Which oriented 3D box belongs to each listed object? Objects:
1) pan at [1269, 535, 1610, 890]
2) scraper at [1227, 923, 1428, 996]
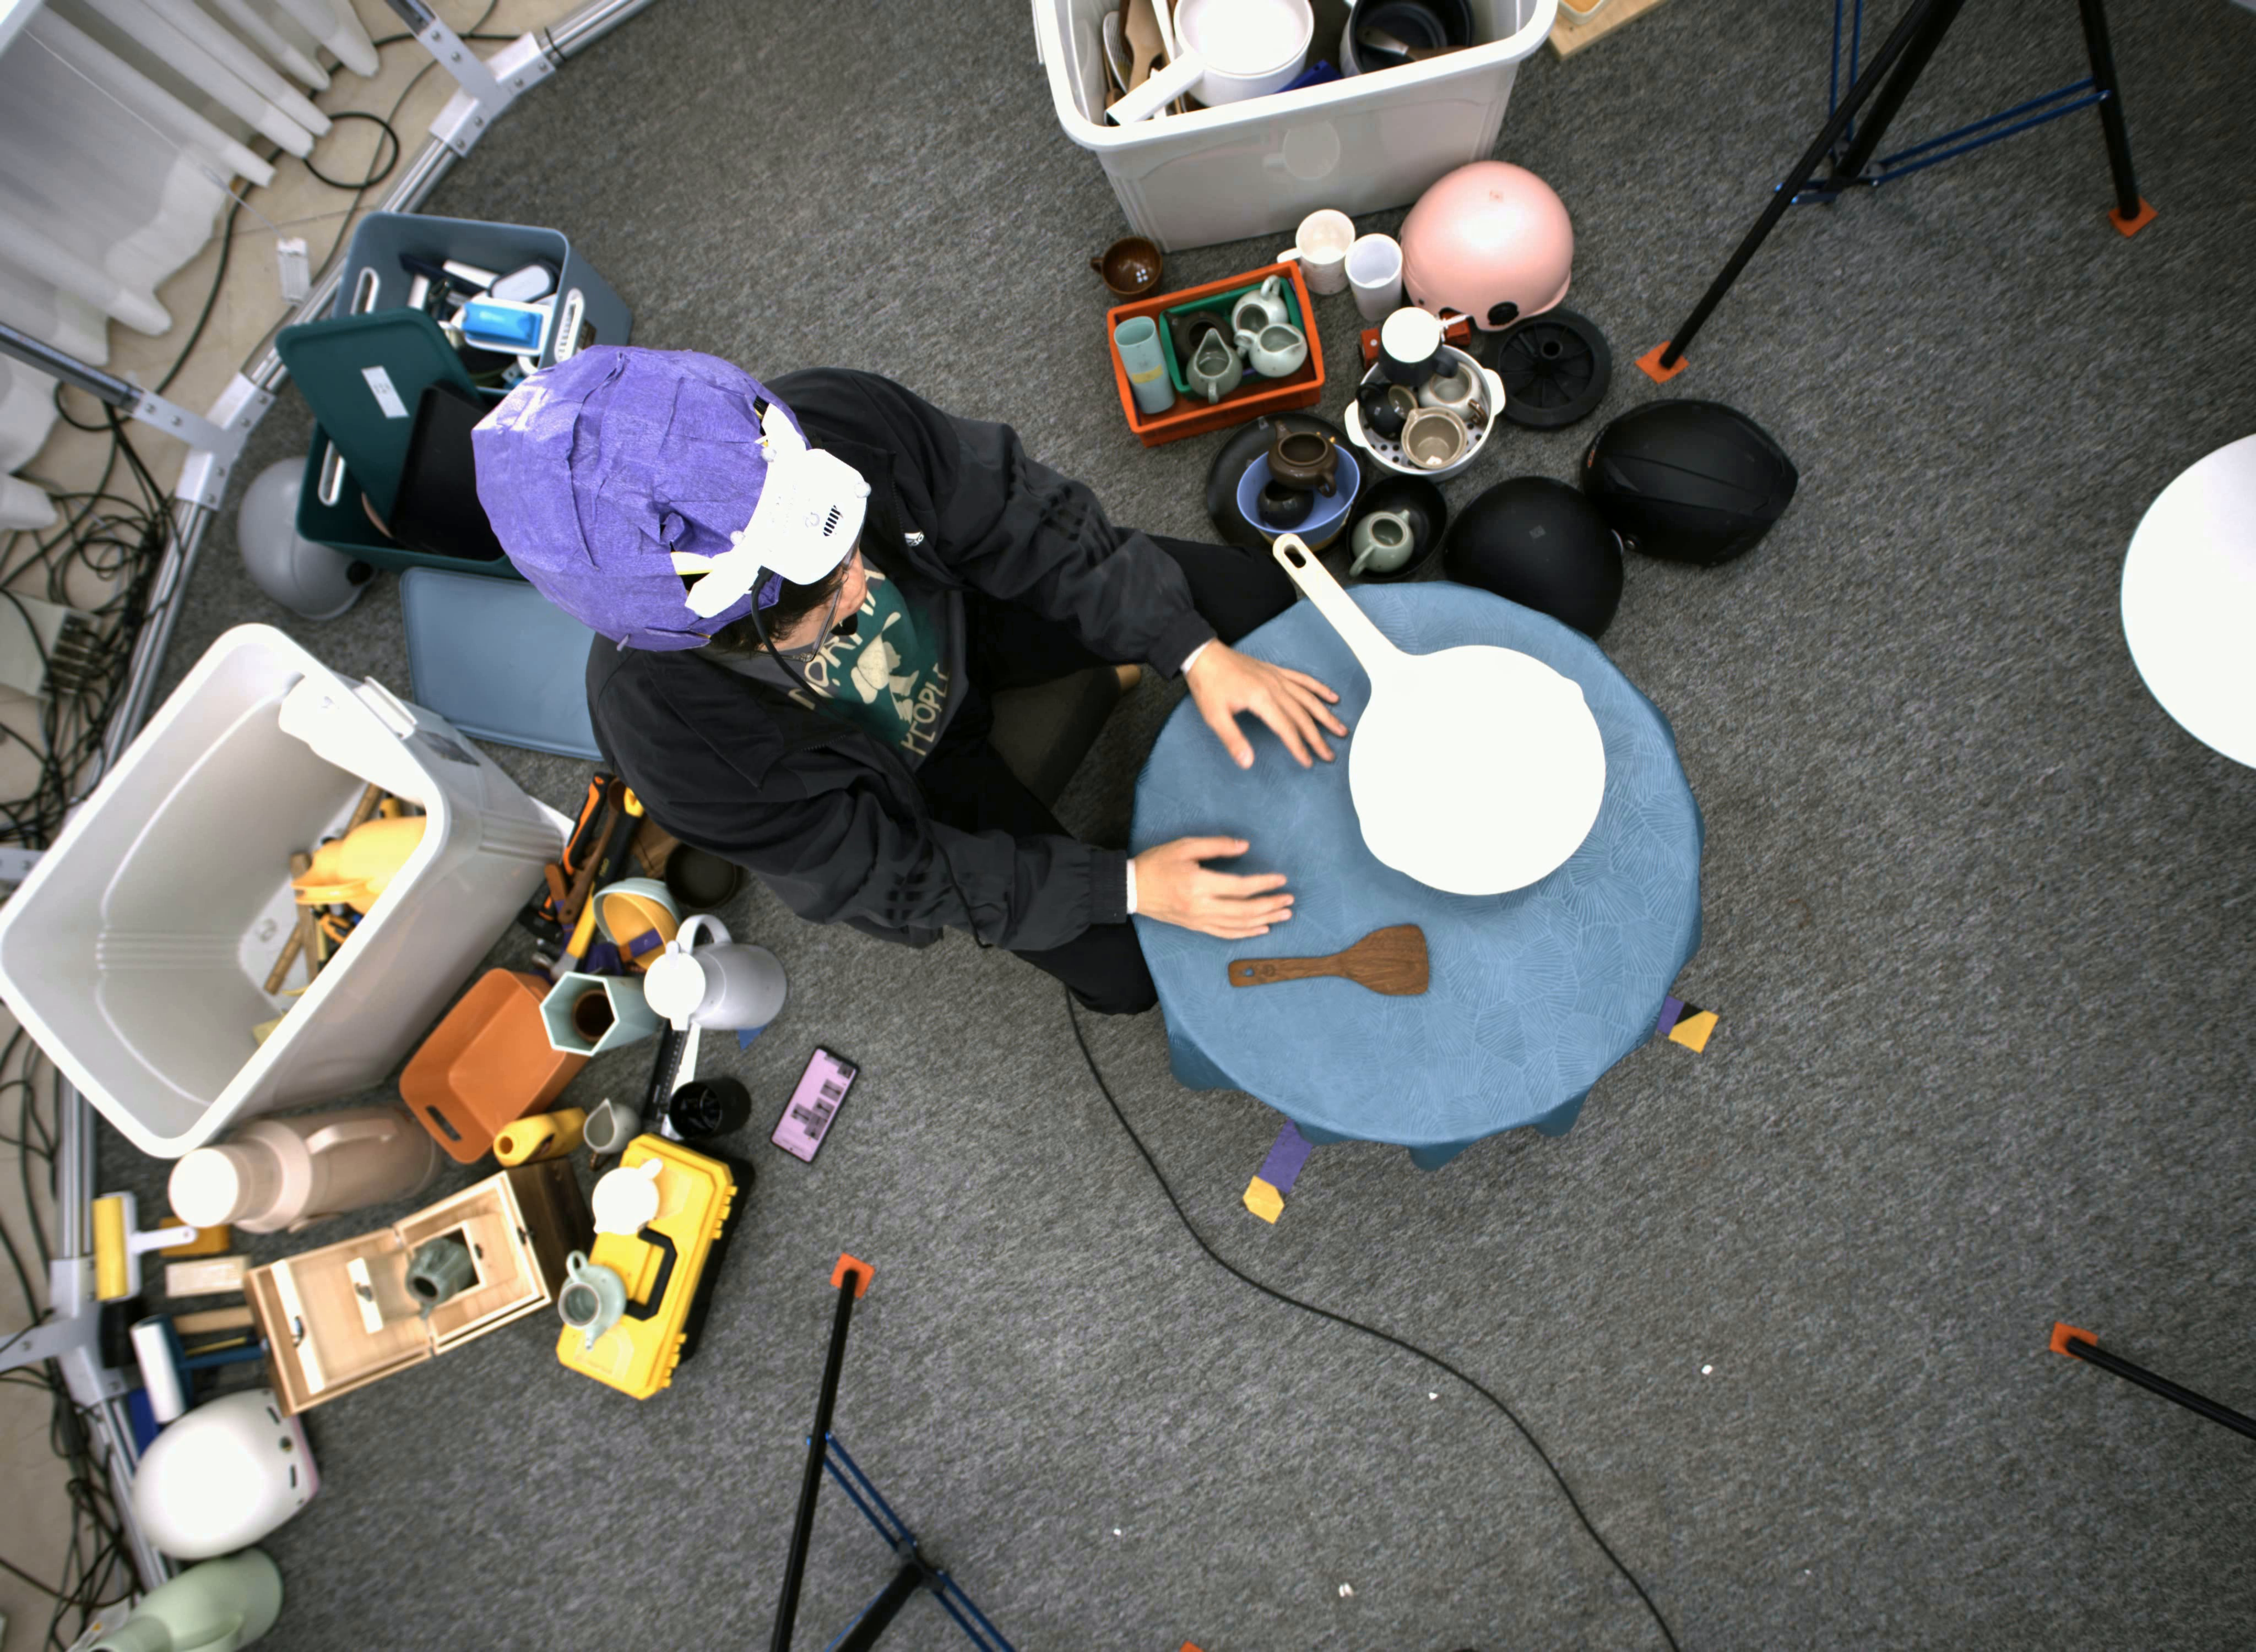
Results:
[{"bbox_3d":[0.299,-0.129,1.413,0.265,0.102,0.432,-41,81,7],"label":"pan"},{"bbox_3d":[0.209,0.146,1.462,0.212,0.011,0.075,-6,86,11],"label":"scraper"}]
